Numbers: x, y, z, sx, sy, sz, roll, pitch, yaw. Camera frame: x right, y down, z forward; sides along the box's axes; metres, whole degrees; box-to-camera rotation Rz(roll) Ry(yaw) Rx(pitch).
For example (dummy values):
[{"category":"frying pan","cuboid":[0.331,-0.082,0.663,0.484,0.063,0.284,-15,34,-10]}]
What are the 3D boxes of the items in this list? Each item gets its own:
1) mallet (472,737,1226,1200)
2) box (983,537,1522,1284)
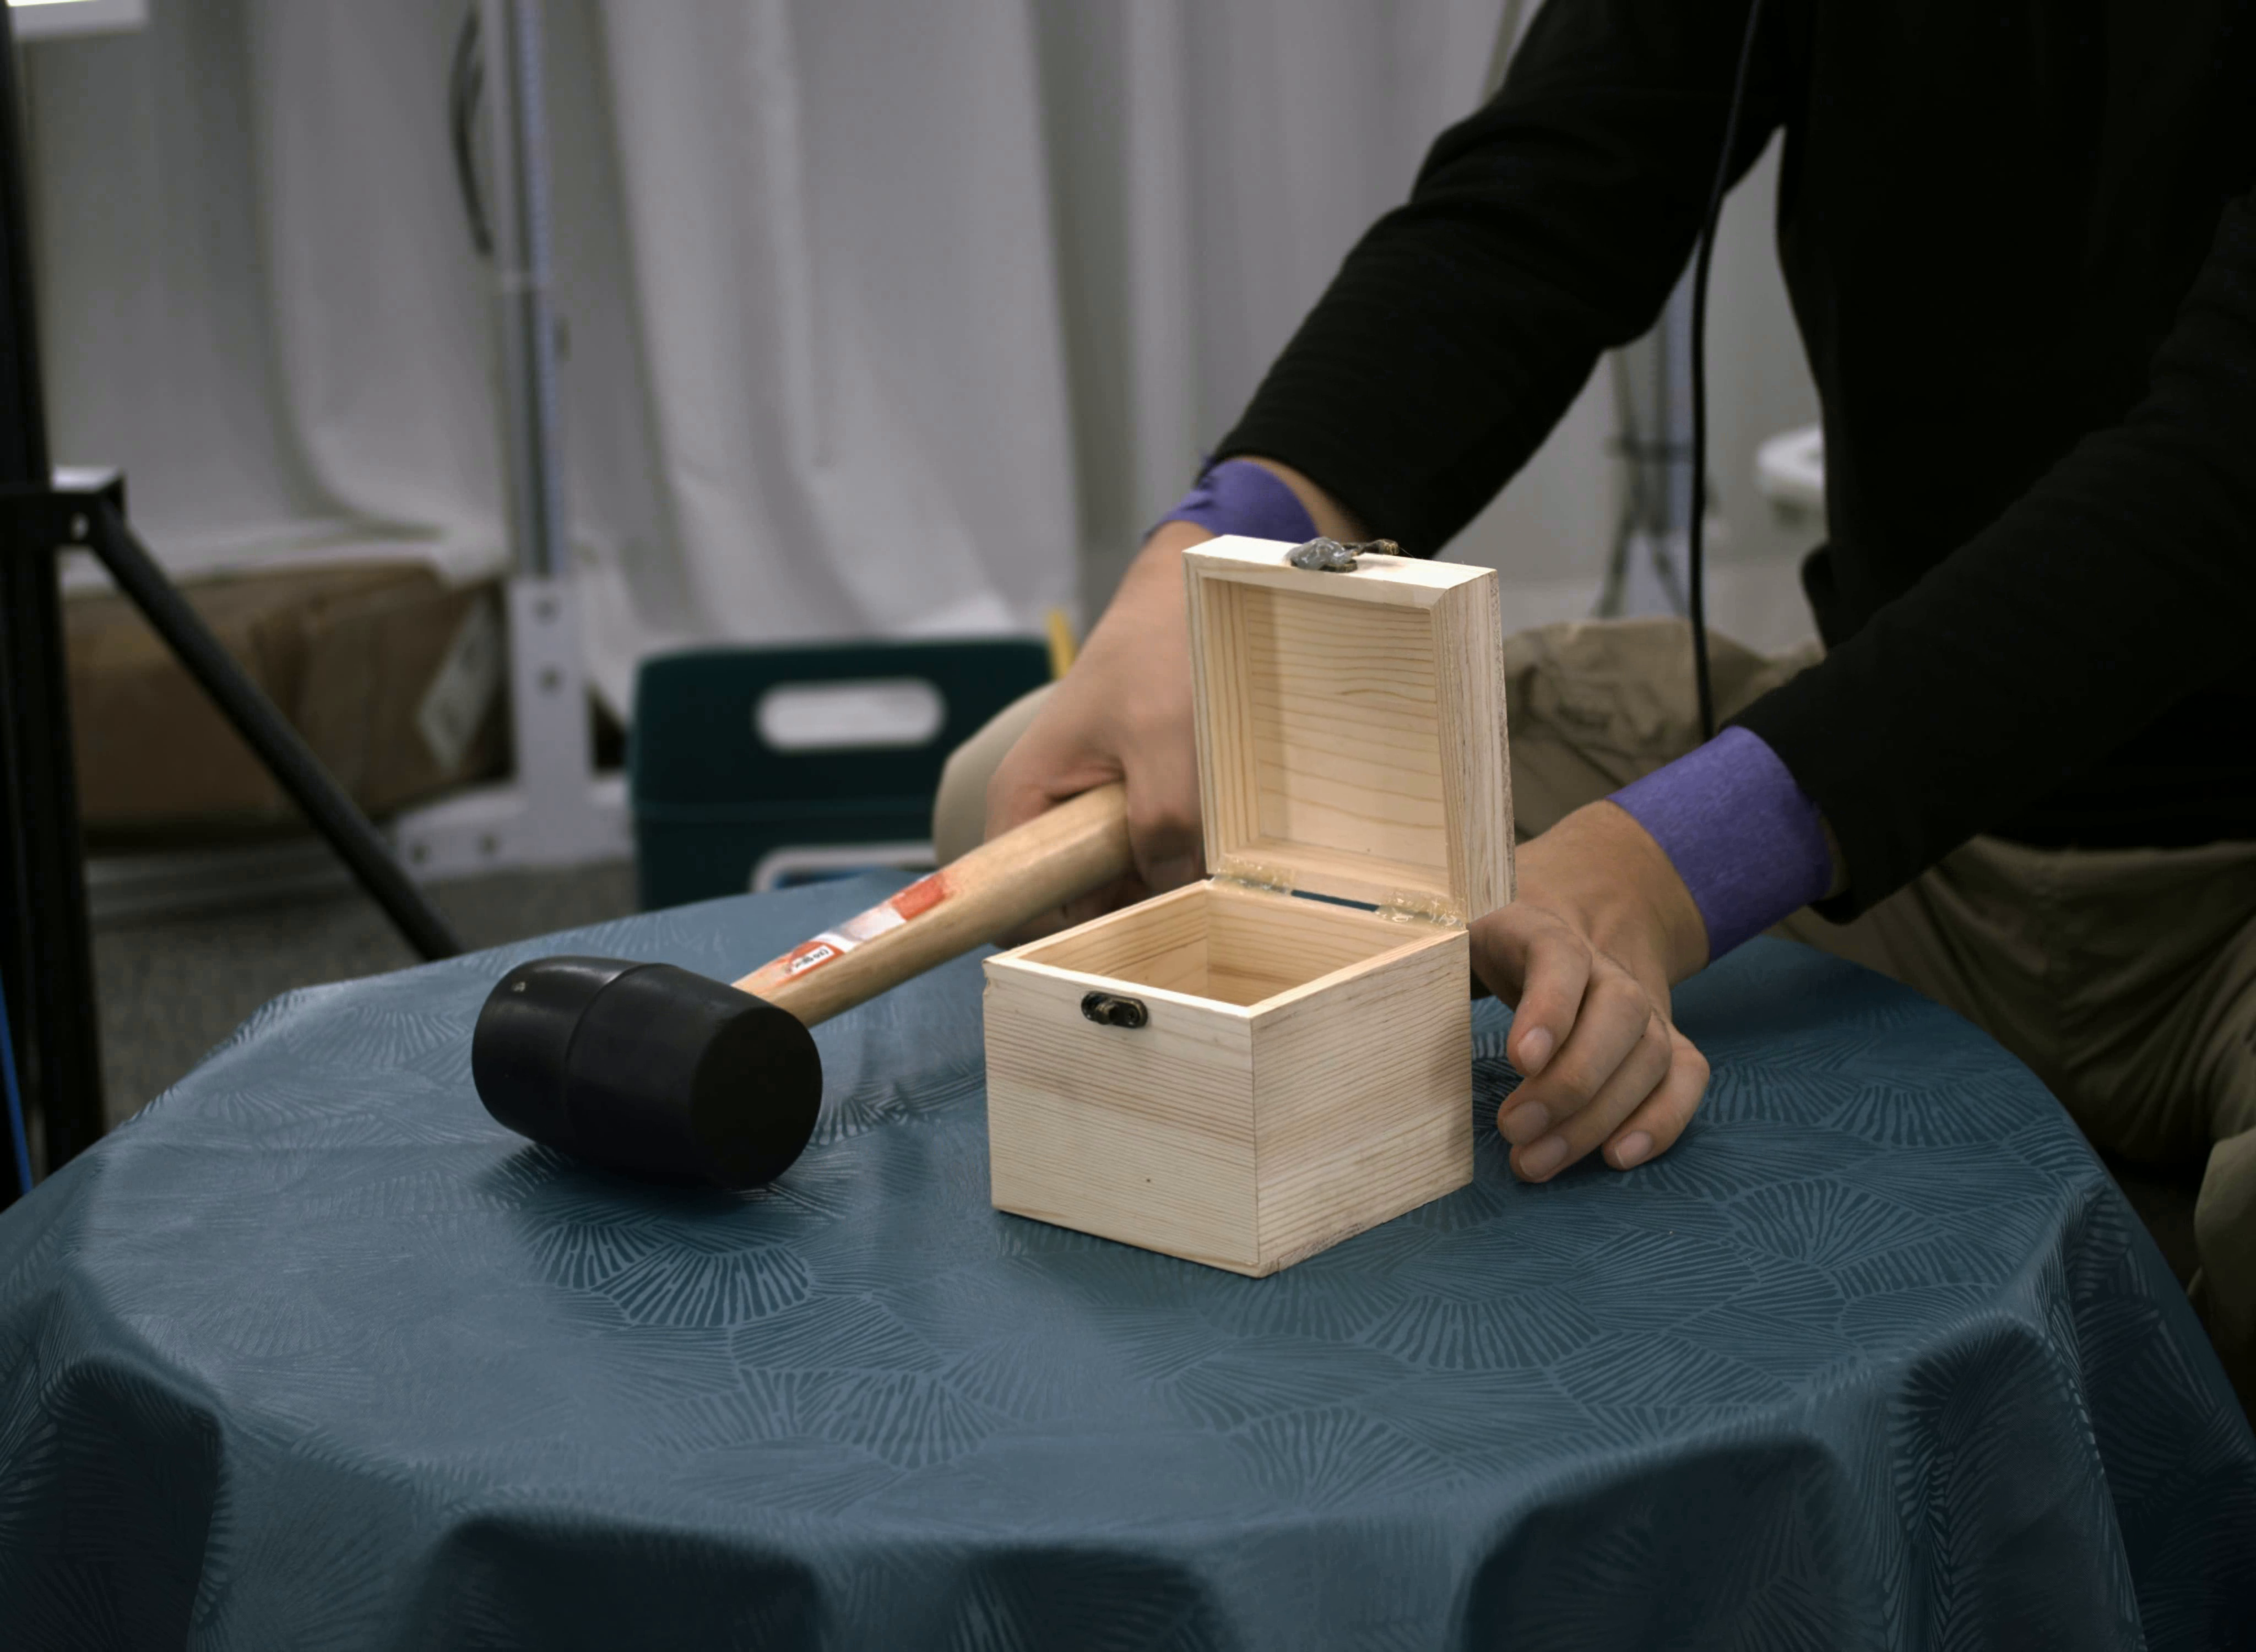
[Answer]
[{"category":"mallet","cuboid":[-0.053,0.021,1.672,0.104,0.064,0.333,16,34,41]},{"category":"box","cuboid":[0.035,0.020,1.531,0.105,0.184,0.131,12,18,40]}]
